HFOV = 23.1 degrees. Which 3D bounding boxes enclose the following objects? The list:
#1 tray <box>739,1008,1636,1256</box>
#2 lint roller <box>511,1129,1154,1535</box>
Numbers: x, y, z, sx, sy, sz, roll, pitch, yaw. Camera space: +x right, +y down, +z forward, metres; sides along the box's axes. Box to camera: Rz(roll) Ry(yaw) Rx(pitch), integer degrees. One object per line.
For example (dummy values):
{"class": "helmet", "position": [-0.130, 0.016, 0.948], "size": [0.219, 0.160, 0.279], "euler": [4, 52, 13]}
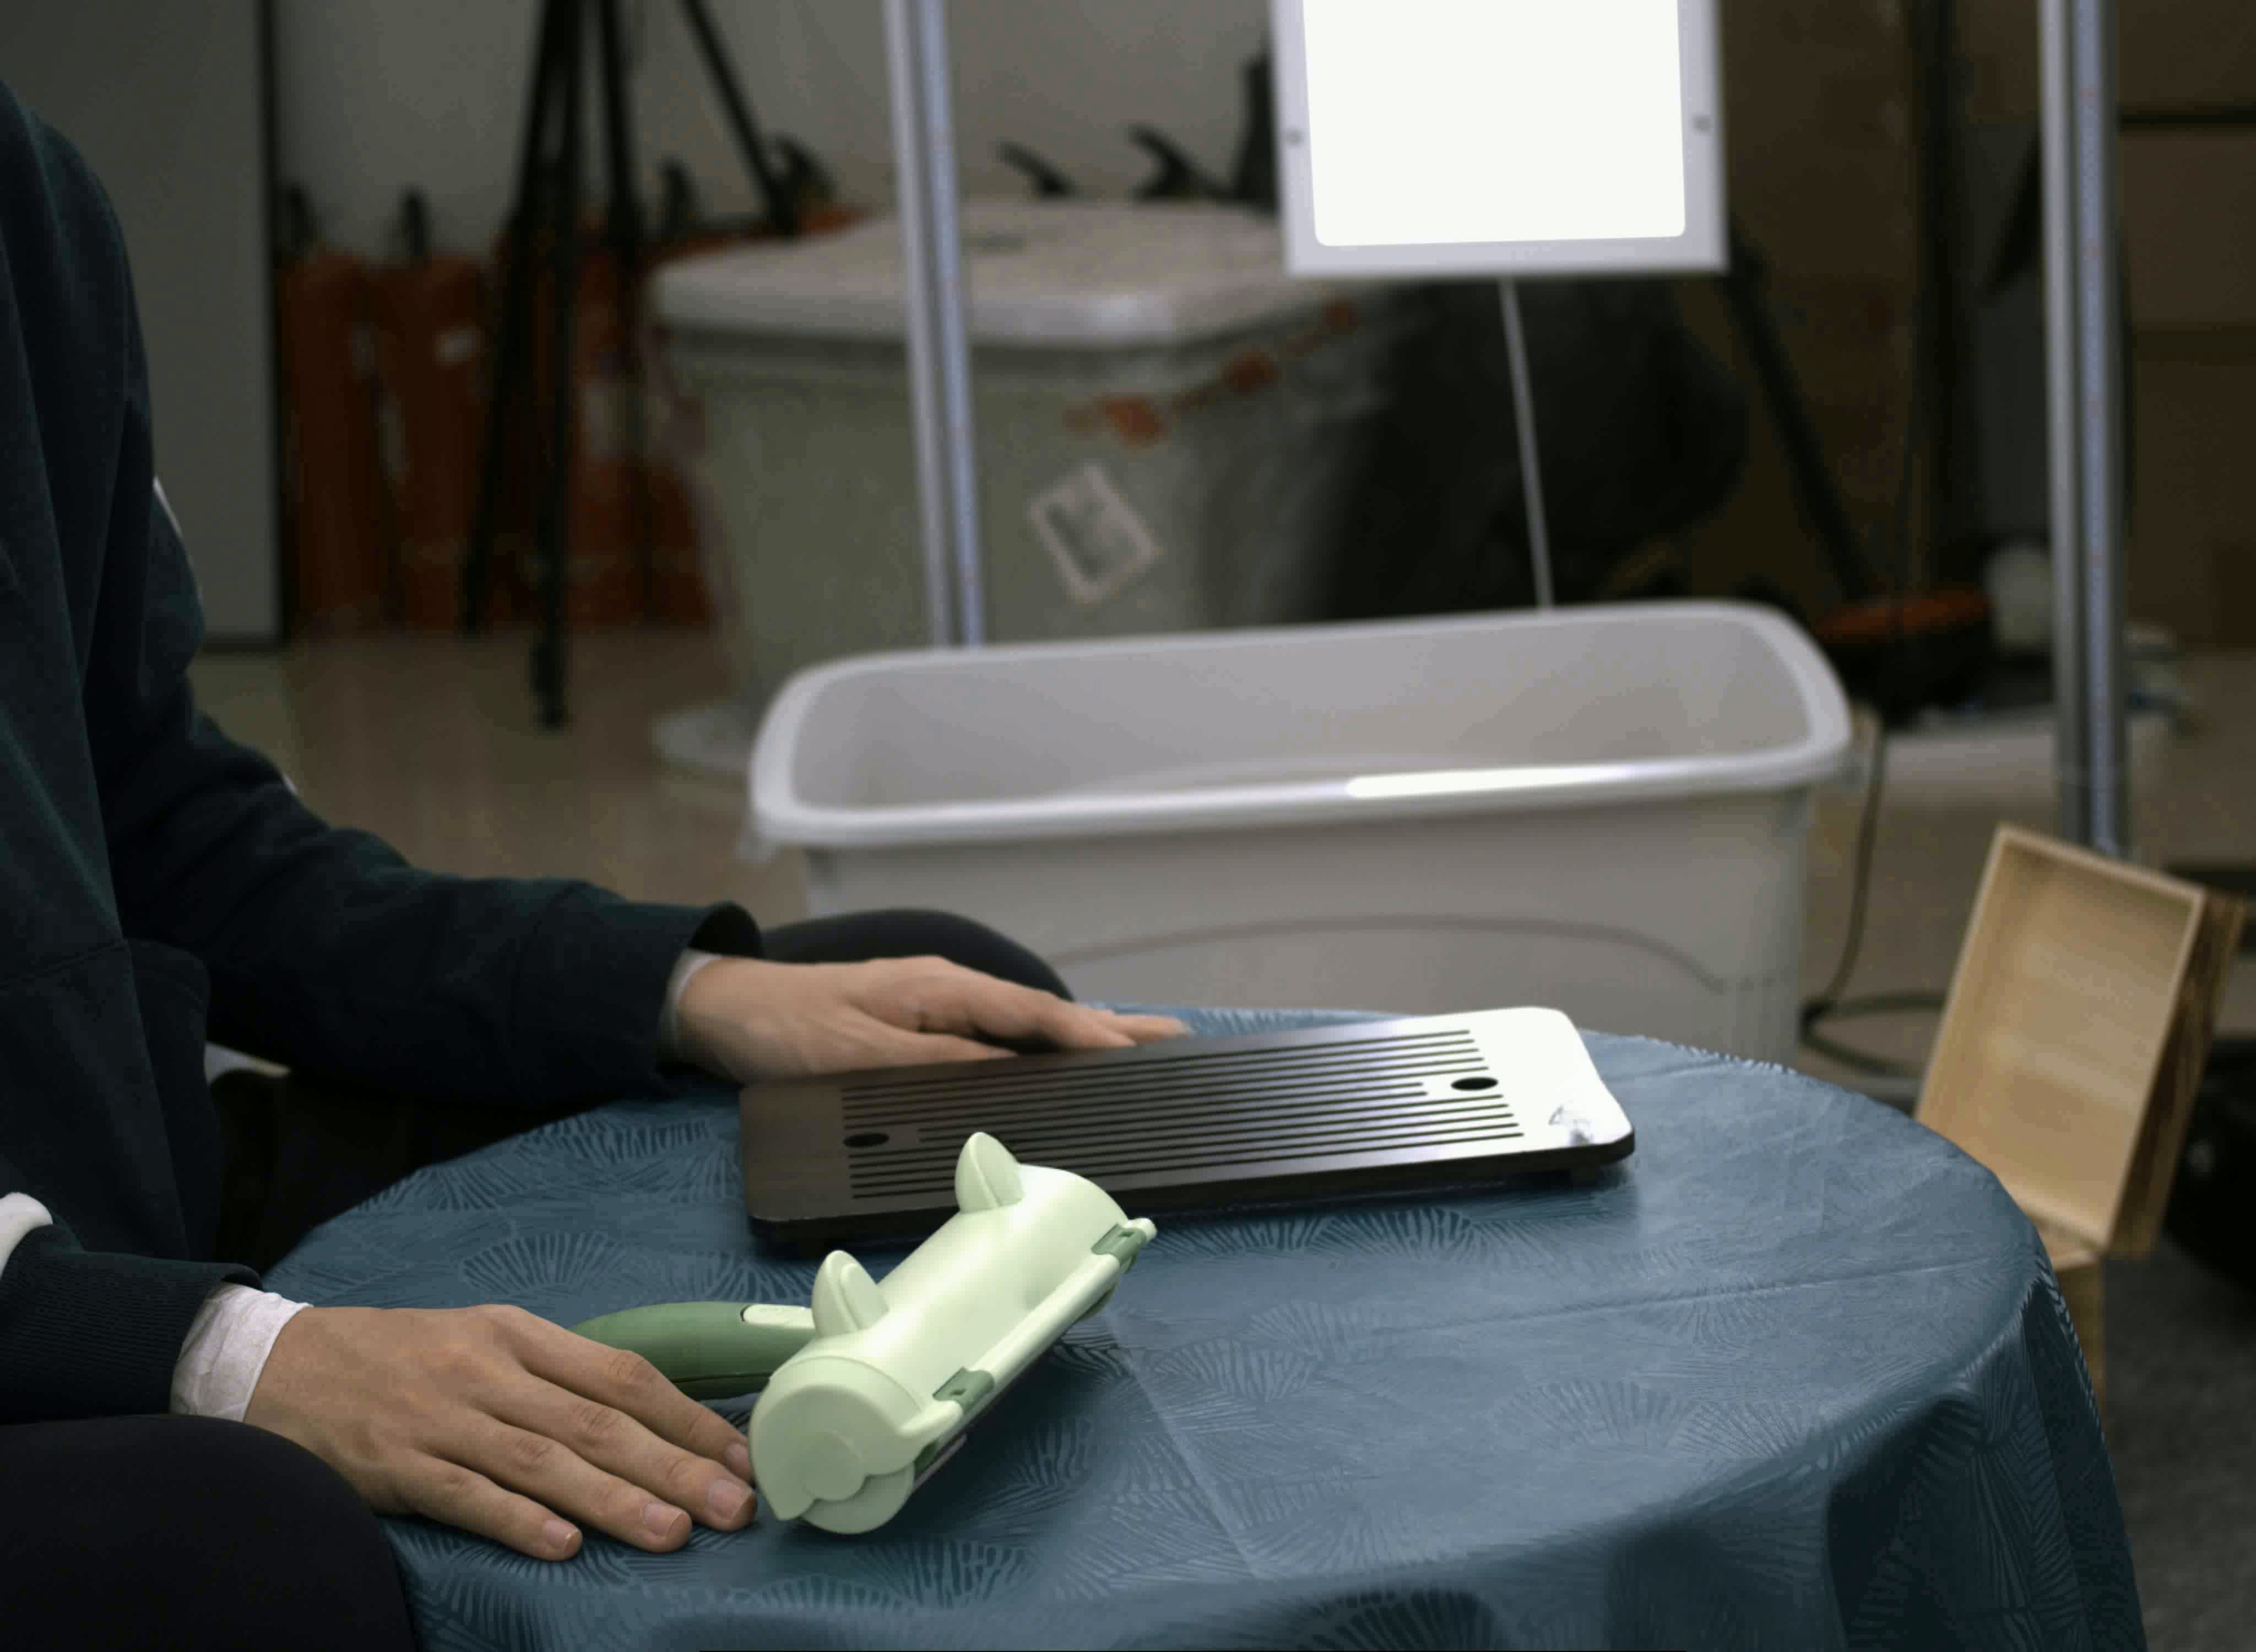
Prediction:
{"class": "tray", "position": [0.017, 0.107, 1.931], "size": [0.304, 0.019, 0.170], "euler": [-6, 14, -2]}
{"class": "lint roller", "position": [-0.107, 0.146, 1.687], "size": [0.186, 0.082, 0.195], "euler": [4, 16, 21]}
